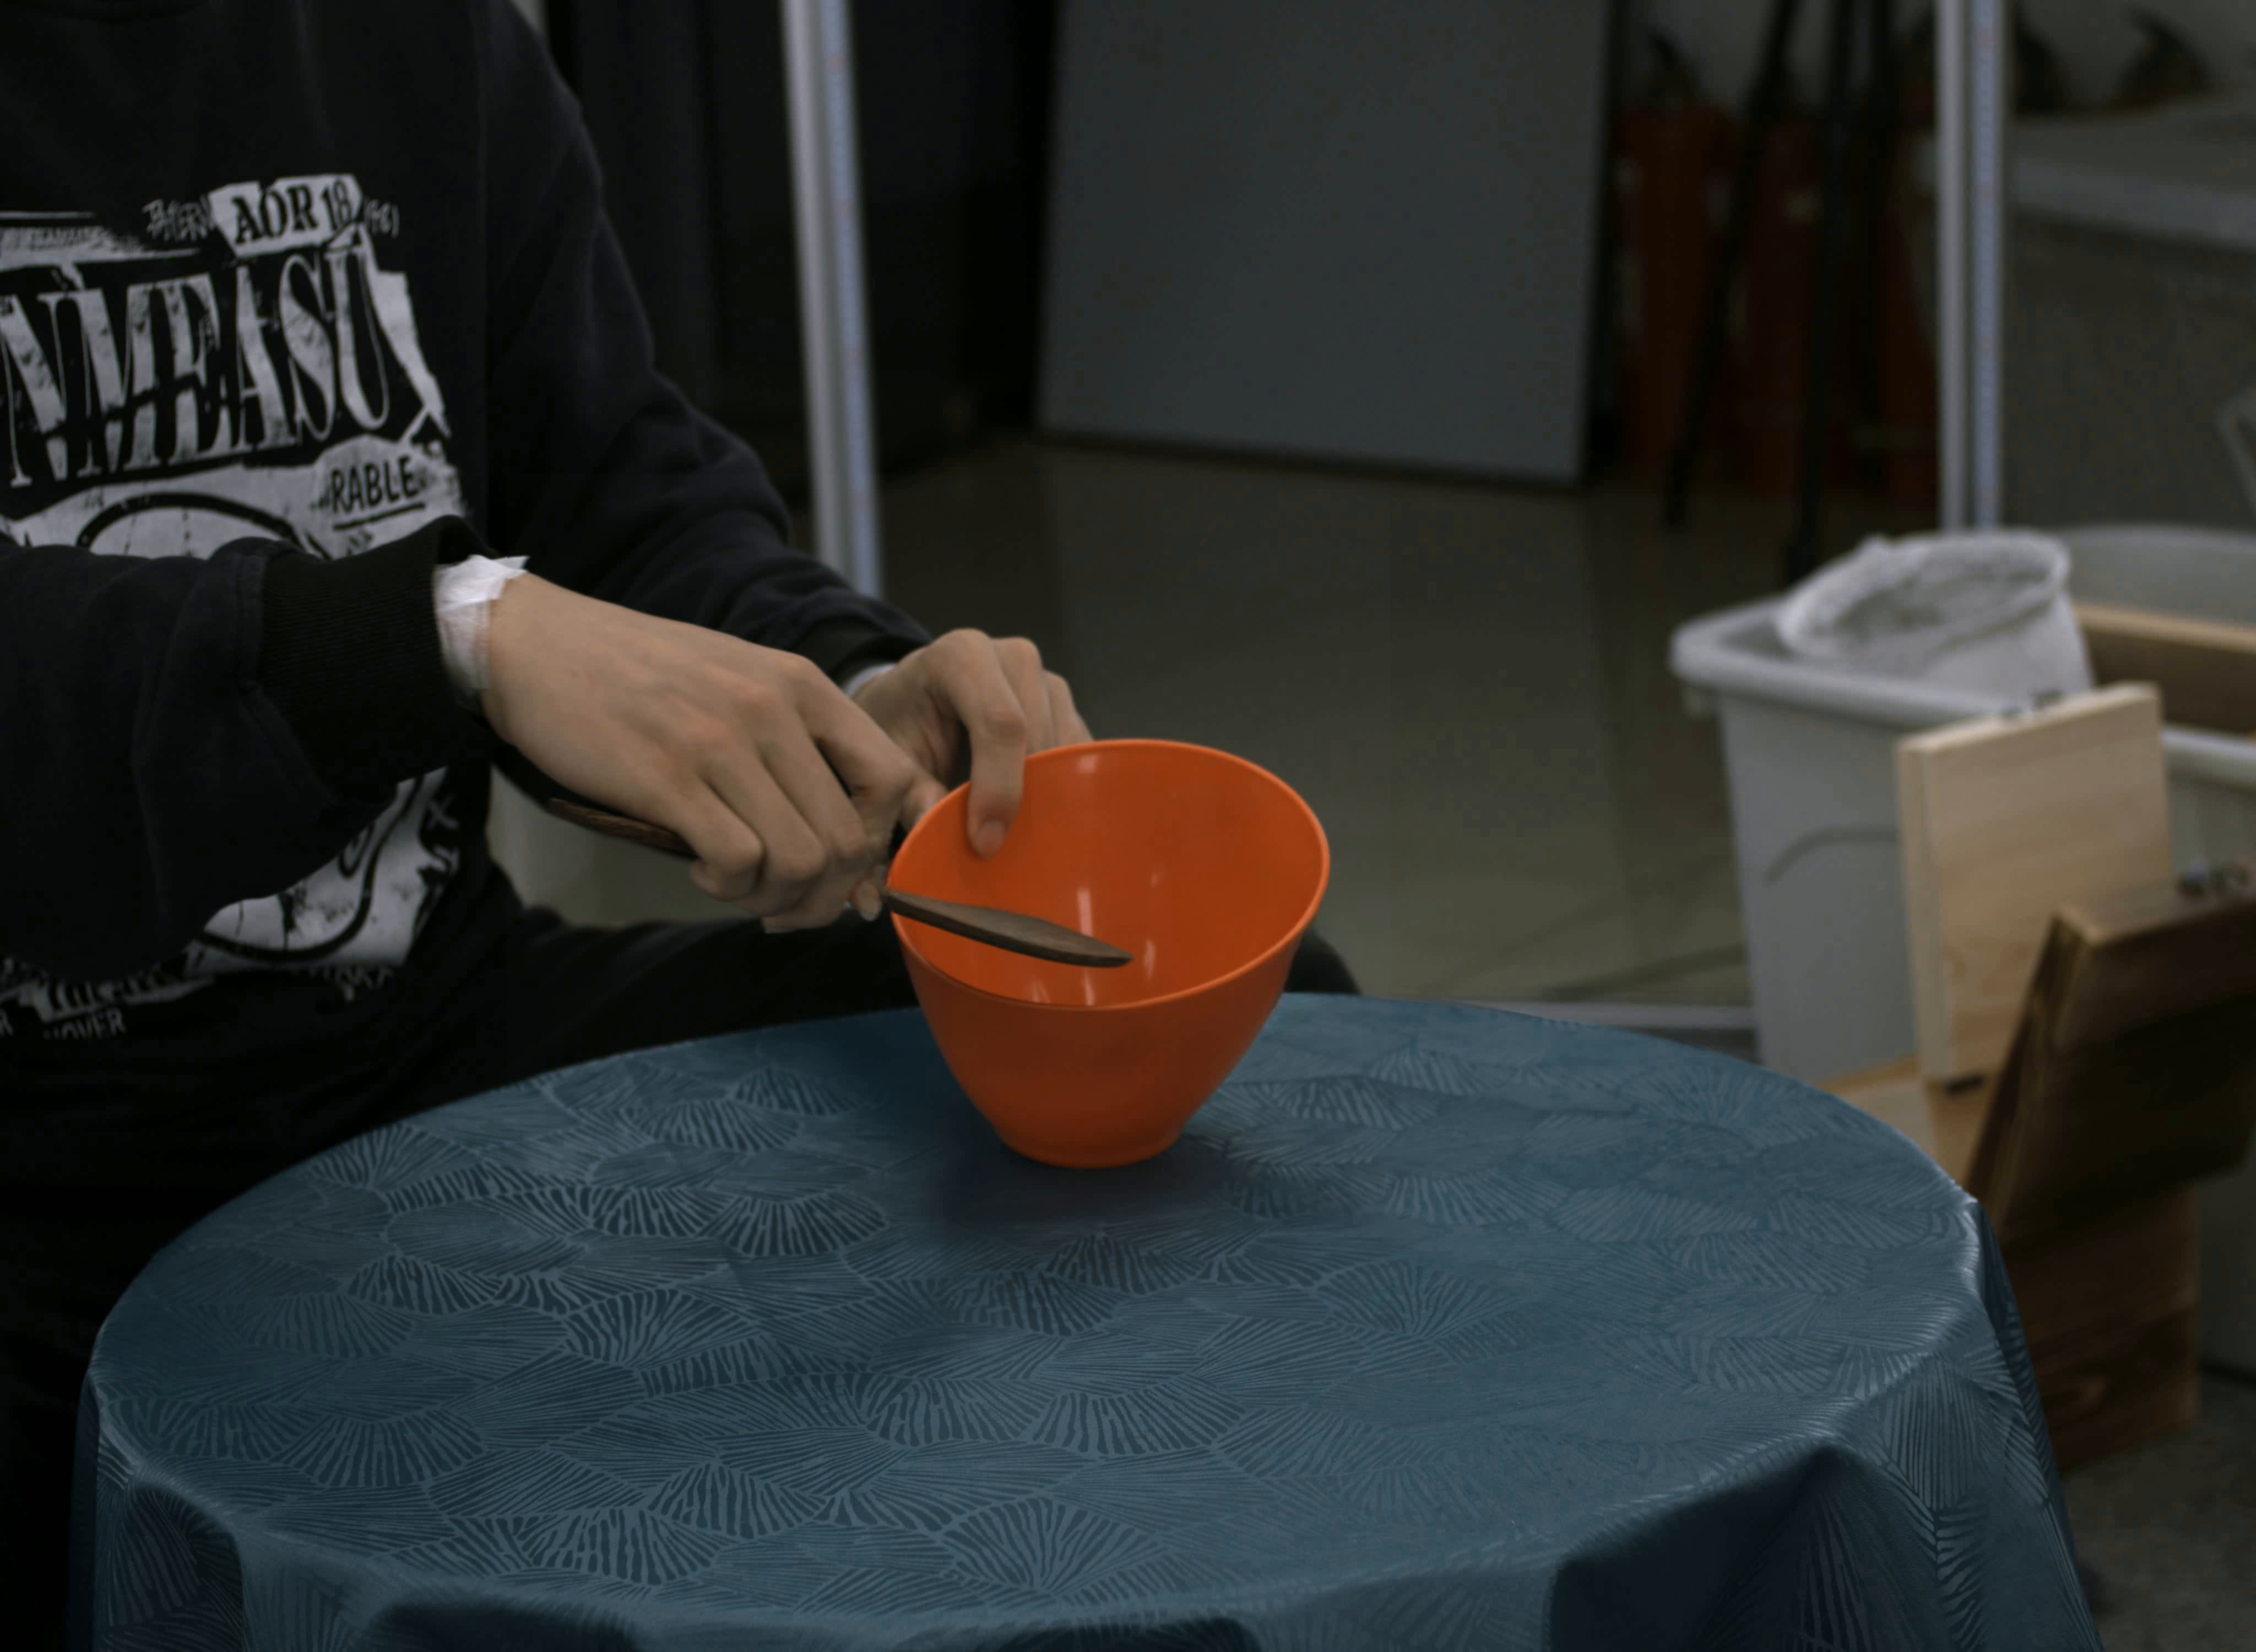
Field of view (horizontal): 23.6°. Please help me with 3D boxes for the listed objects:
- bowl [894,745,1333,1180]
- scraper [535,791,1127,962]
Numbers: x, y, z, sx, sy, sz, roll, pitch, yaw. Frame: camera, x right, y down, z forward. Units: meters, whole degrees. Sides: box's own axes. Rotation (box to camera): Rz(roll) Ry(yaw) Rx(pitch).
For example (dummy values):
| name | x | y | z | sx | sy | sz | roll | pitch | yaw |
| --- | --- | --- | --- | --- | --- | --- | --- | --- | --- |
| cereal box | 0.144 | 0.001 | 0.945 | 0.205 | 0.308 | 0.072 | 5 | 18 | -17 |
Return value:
| name | x | y | z | sx | sy | sz | roll | pitch | yaw |
| --- | --- | --- | --- | --- | --- | --- | --- | --- | --- |
| bowl | -0.006 | 0.052 | 1.808 | 0.146 | 0.105 | 0.148 | 0 | 28 | -1 |
| scraper | -0.096 | 0.016 | 1.698 | 0.206 | 0.011 | 0.076 | 16 | 1 | -37 |
